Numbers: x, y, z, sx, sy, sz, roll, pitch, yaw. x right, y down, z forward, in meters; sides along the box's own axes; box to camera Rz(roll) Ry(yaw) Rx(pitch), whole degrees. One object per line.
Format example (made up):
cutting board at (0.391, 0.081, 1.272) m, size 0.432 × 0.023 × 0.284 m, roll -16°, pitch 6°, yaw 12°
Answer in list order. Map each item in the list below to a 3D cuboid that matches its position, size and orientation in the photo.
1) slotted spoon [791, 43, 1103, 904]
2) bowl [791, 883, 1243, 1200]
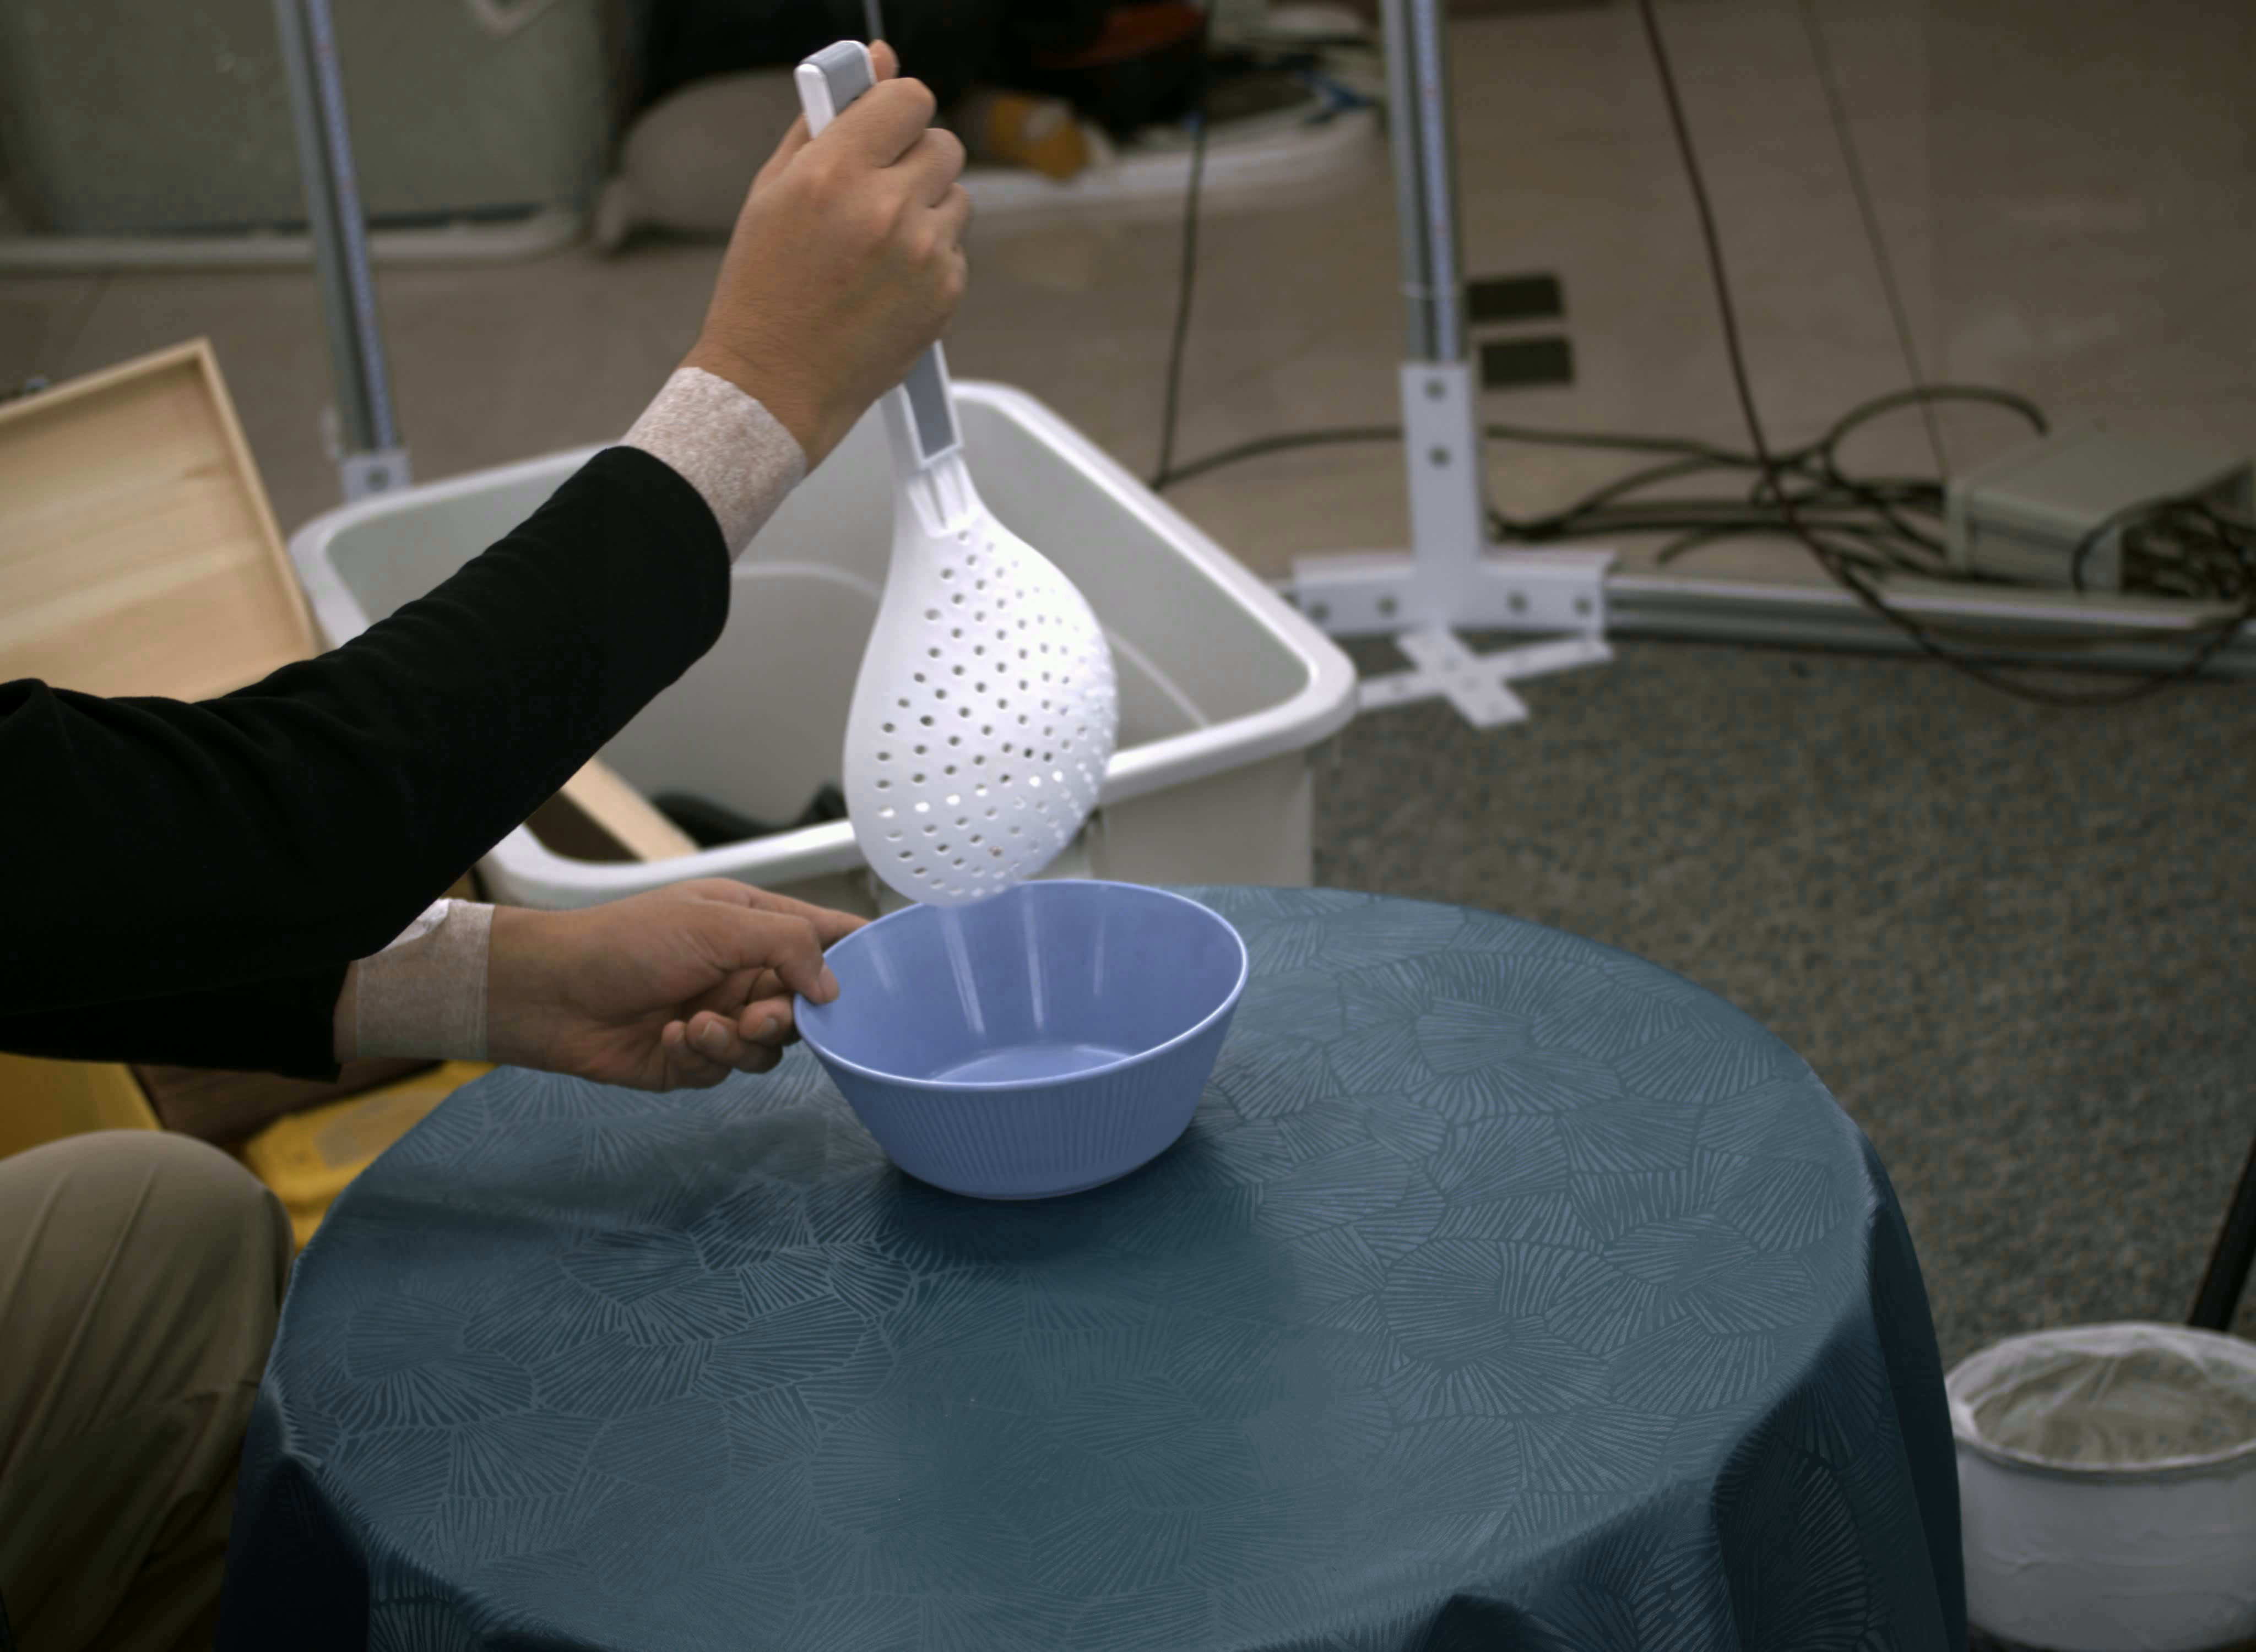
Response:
slotted spoon at (-0.075, -0.126, 2.093) m, size 0.135 × 0.355 × 0.045 m, roll -34°, pitch 33°, yaw -32°
bowl at (-0.039, 0.089, 2.182) m, size 0.176 × 0.071 × 0.173 m, roll -6°, pitch 25°, yaw 3°
